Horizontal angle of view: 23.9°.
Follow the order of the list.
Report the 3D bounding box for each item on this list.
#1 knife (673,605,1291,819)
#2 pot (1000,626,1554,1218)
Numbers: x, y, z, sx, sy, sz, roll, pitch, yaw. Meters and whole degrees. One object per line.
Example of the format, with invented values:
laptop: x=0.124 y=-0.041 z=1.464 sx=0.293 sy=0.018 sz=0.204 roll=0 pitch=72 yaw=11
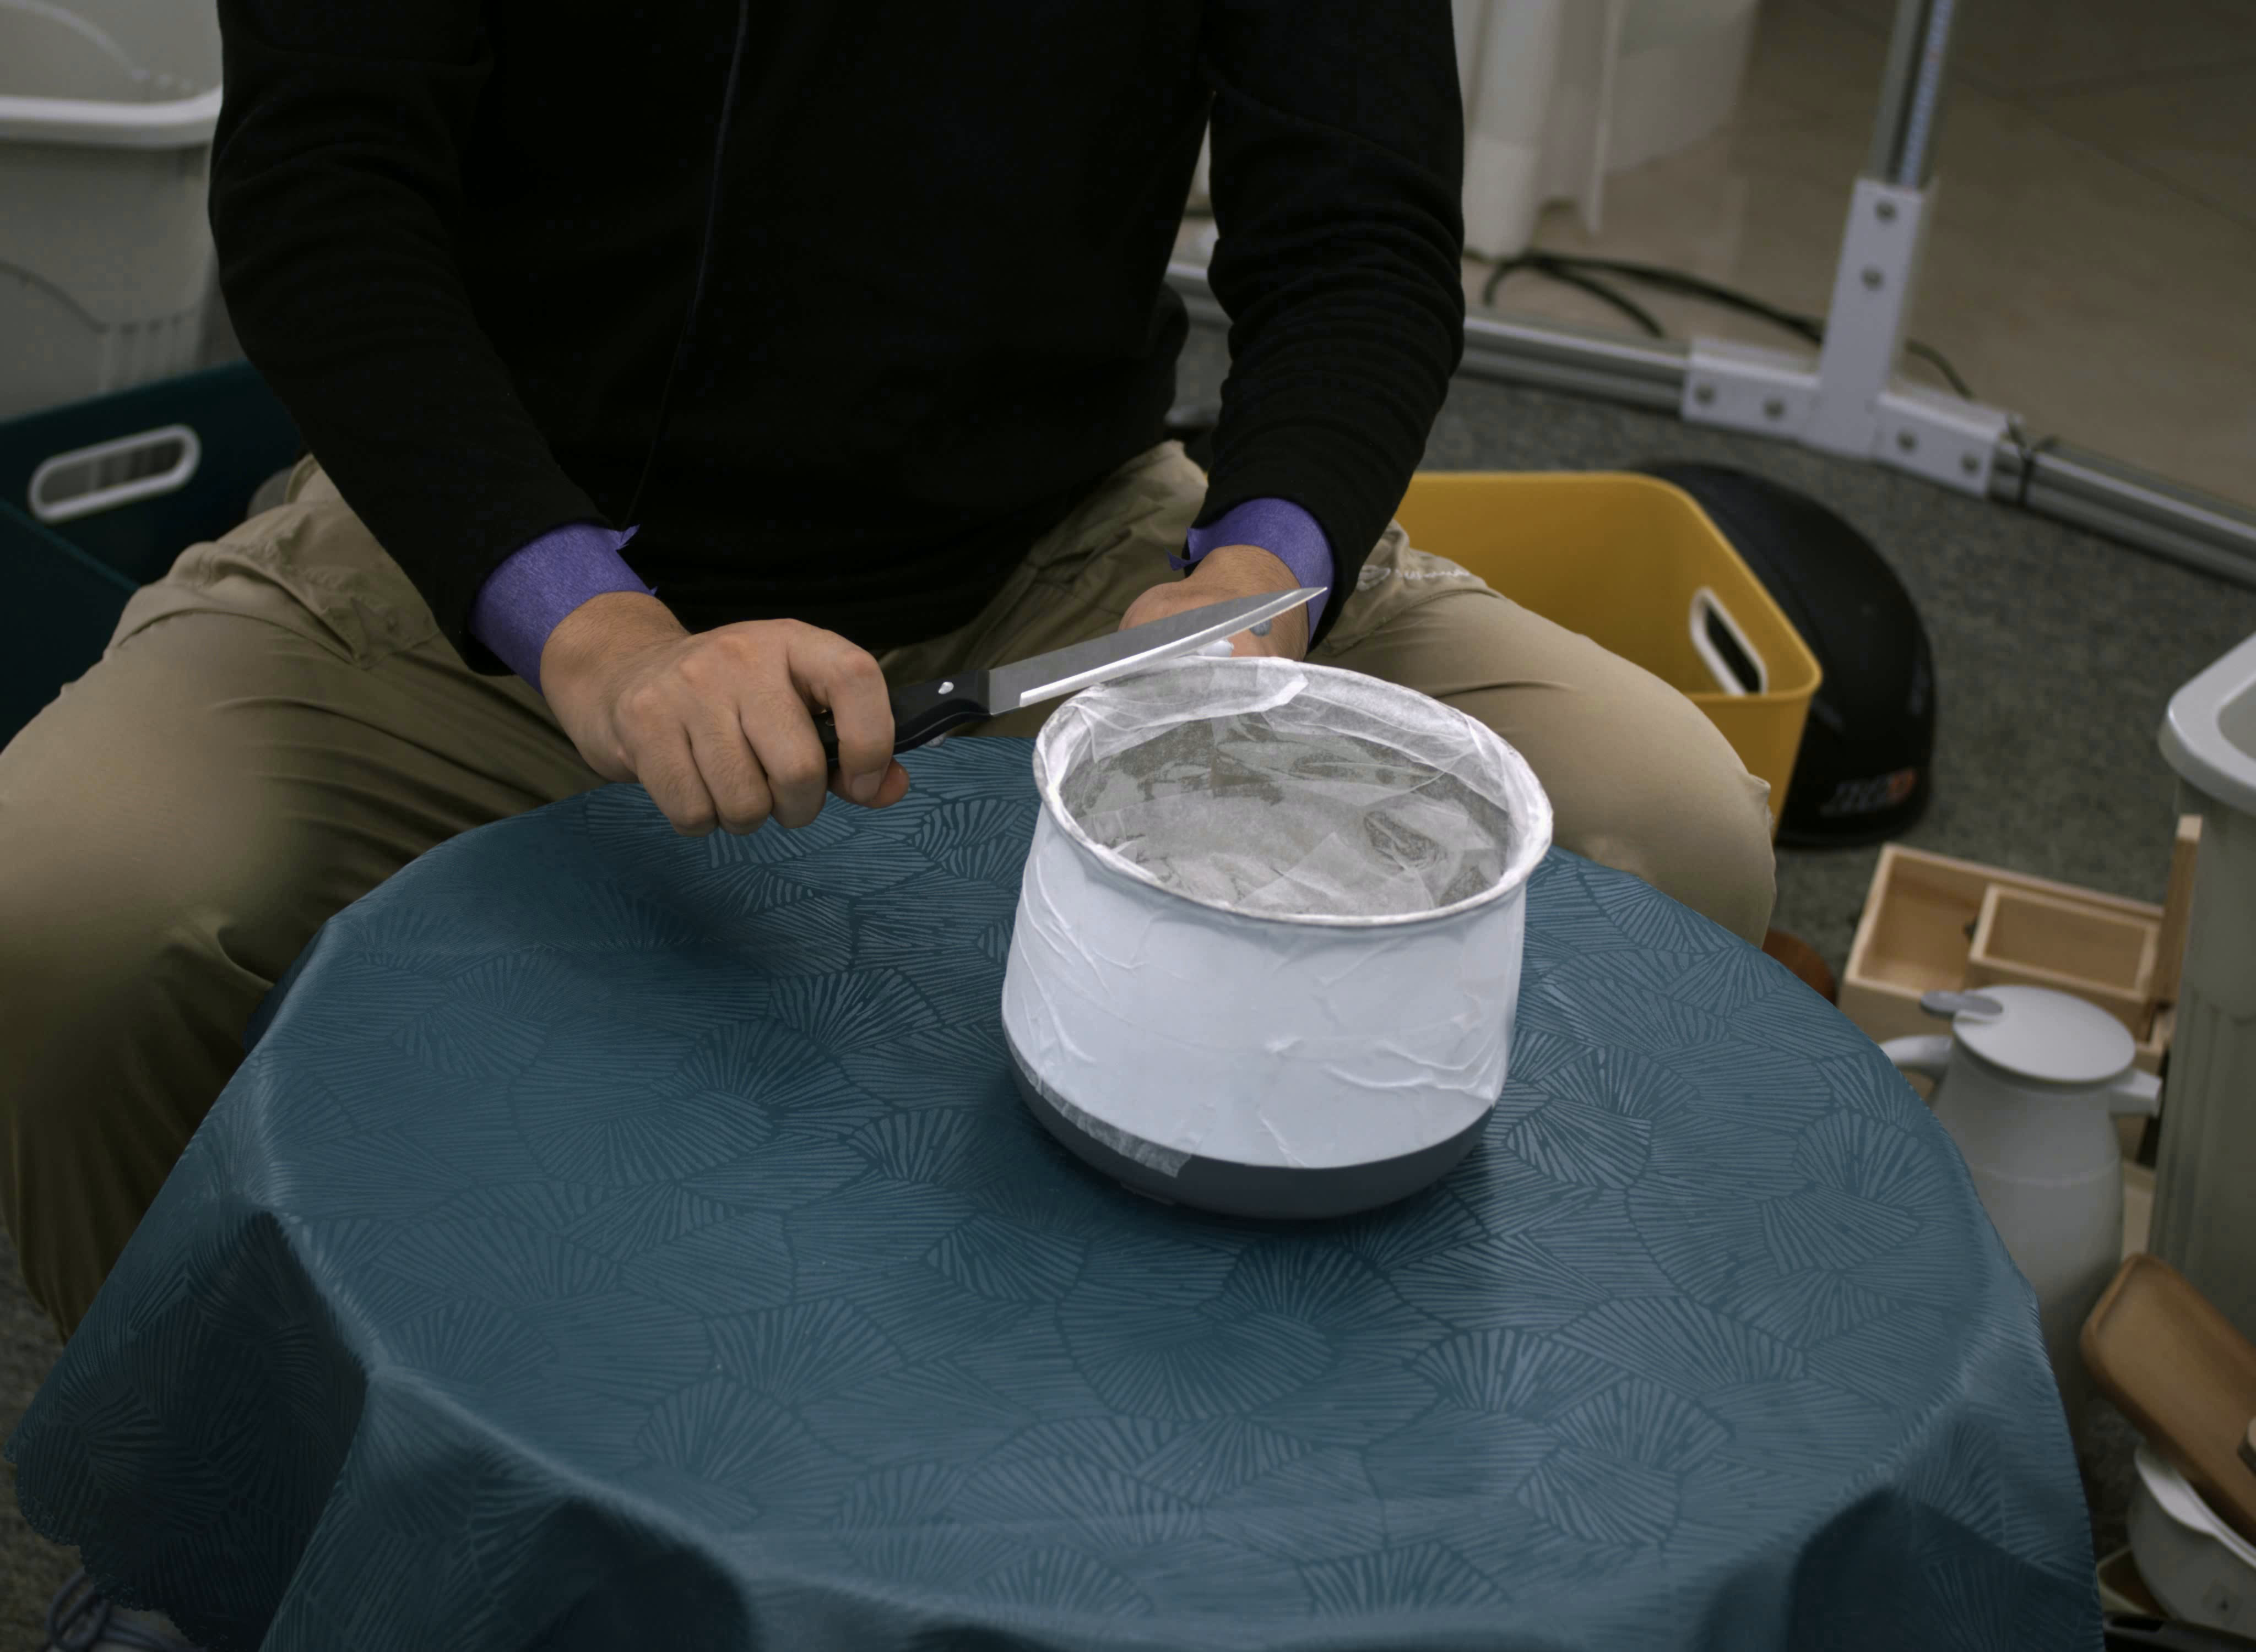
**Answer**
knife: x=-0.052 y=-0.044 z=1.853 sx=0.238 sy=0.016 sz=0.024 roll=-17 pitch=47 yaw=19
pot: x=0.040 y=0.025 z=1.845 sx=0.177 sy=0.136 sz=0.236 roll=-2 pitch=32 yaw=-18
